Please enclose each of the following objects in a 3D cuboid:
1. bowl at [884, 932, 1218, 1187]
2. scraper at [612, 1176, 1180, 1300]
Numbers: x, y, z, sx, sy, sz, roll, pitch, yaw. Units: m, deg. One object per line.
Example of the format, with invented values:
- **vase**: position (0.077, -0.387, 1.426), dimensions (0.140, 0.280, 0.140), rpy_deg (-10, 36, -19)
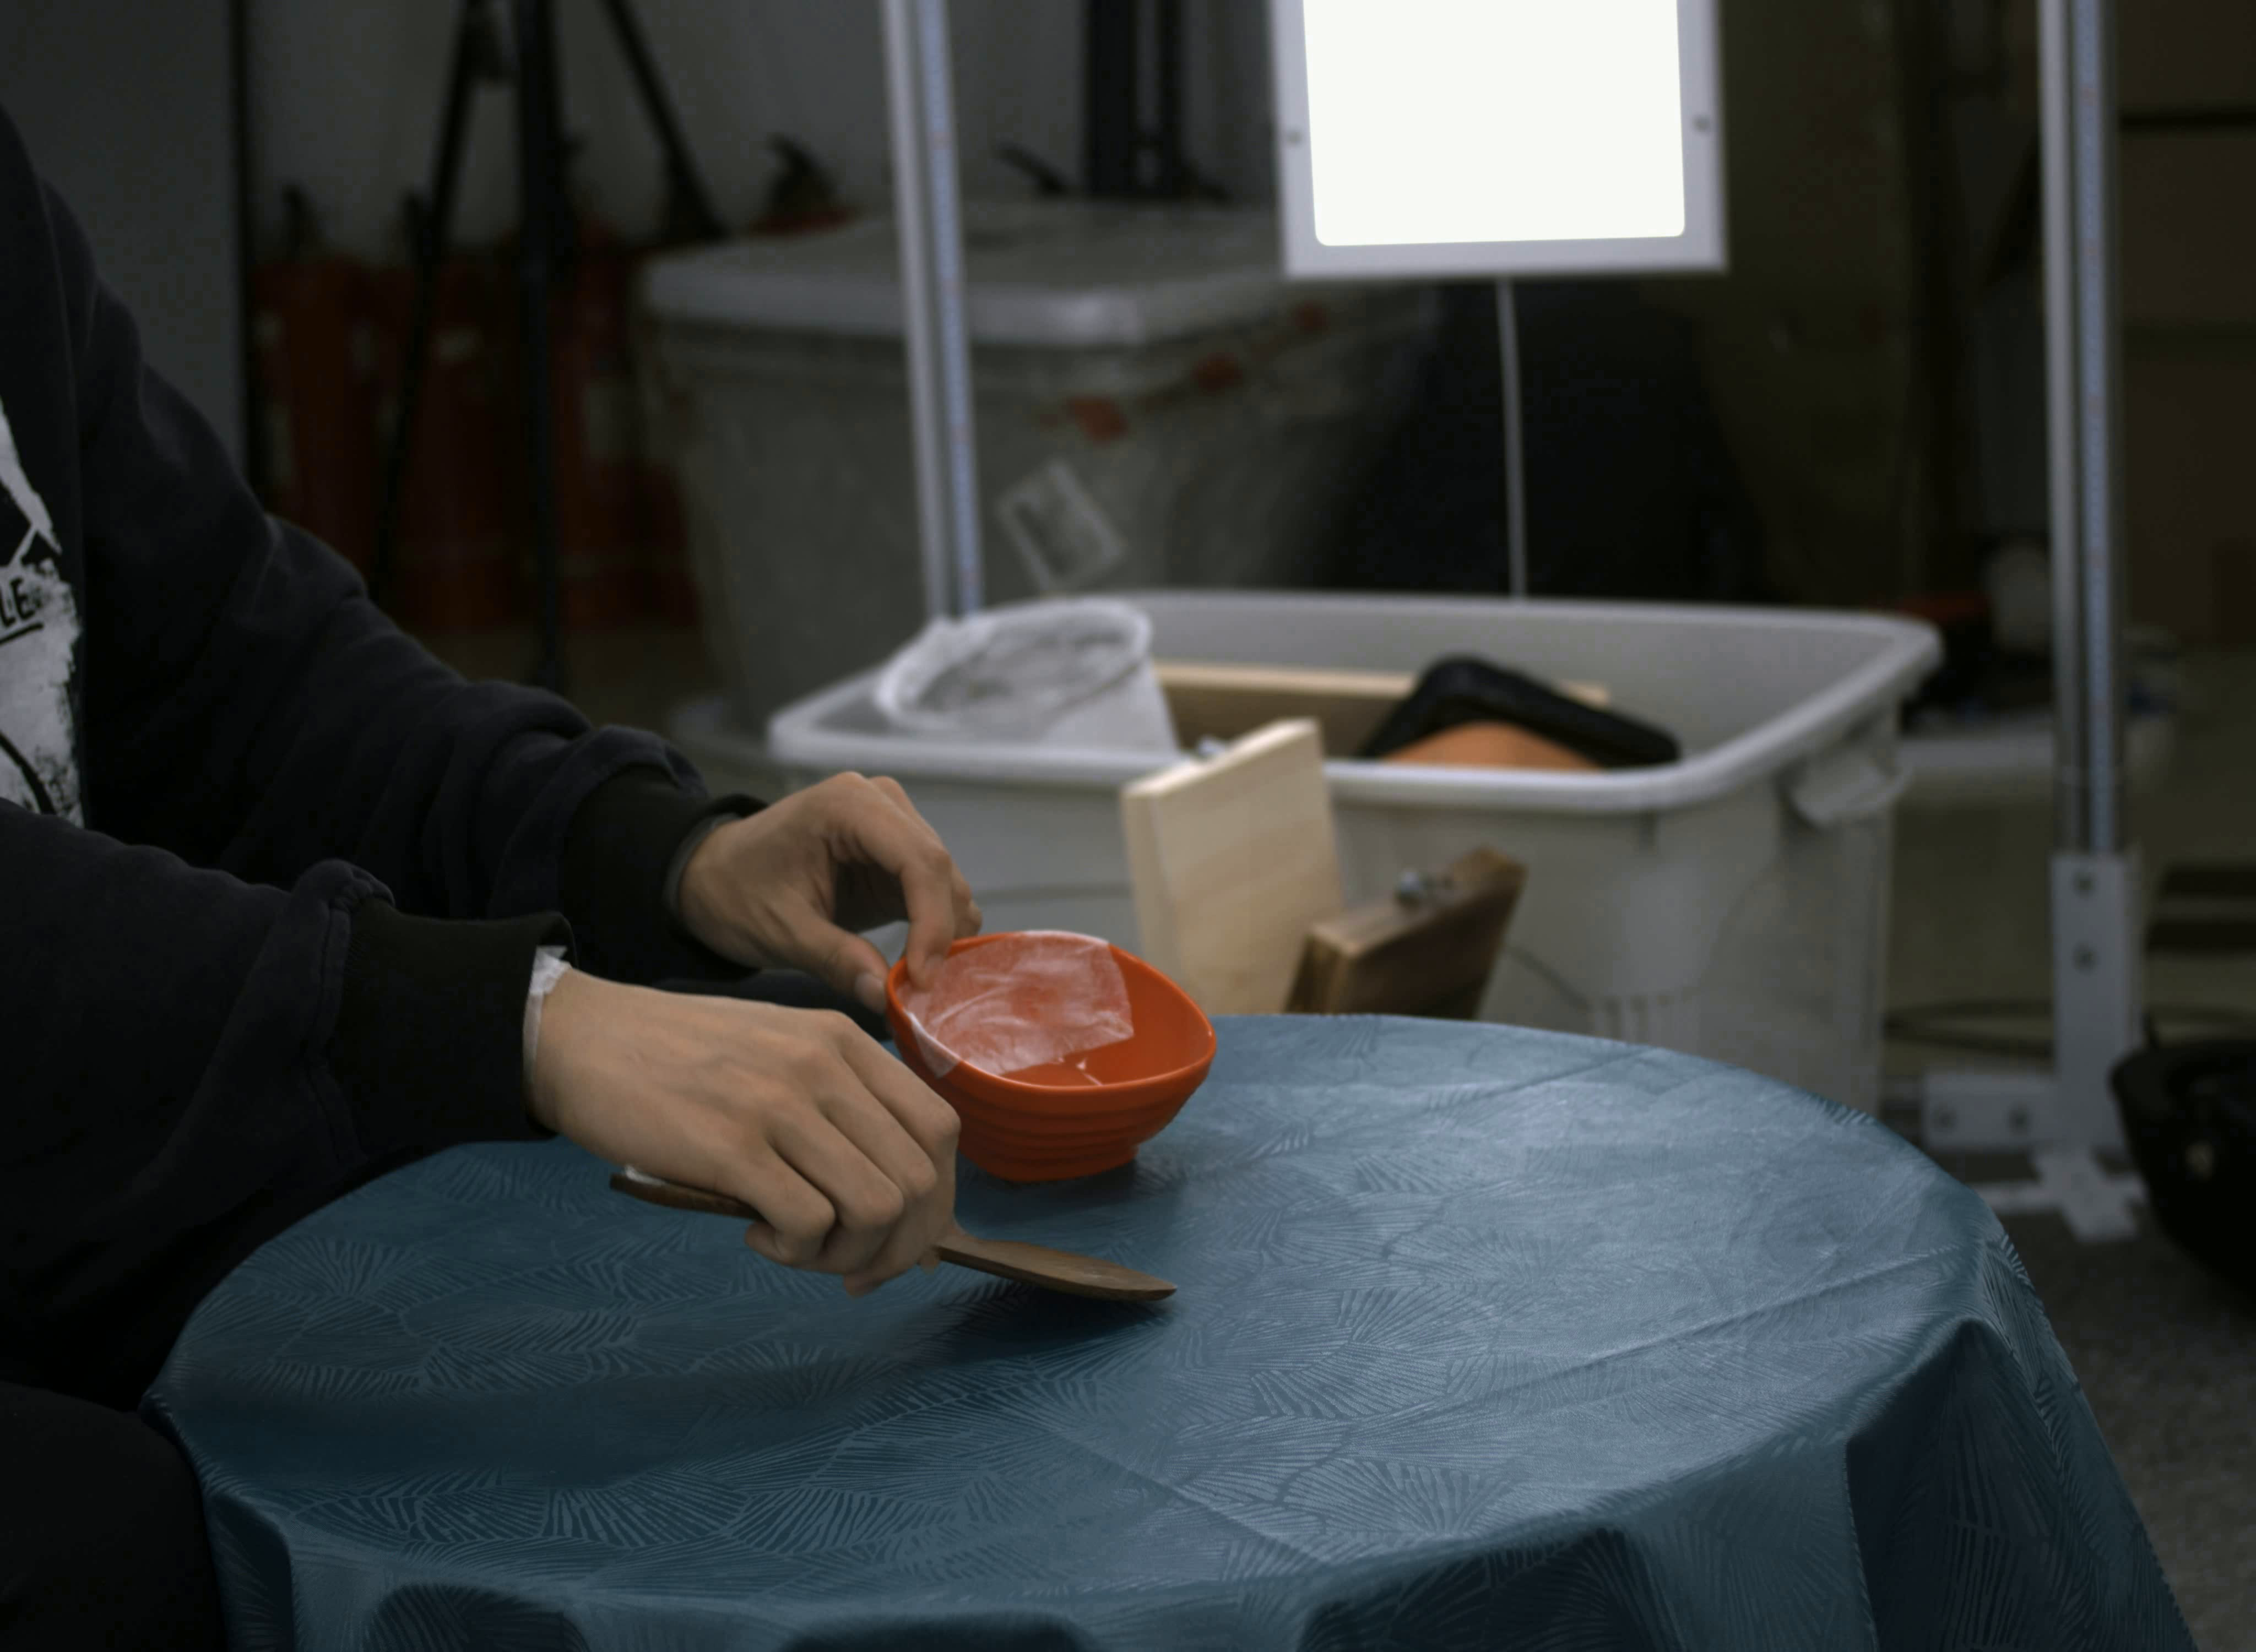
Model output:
- **bowl**: position (-0.030, 0.087, 1.931), dimensions (0.118, 0.052, 0.118), rpy_deg (7, 27, -5)
- **scraper**: position (-0.077, 0.129, 1.735), dimensions (0.206, 0.011, 0.077), rpy_deg (15, -2, -42)
